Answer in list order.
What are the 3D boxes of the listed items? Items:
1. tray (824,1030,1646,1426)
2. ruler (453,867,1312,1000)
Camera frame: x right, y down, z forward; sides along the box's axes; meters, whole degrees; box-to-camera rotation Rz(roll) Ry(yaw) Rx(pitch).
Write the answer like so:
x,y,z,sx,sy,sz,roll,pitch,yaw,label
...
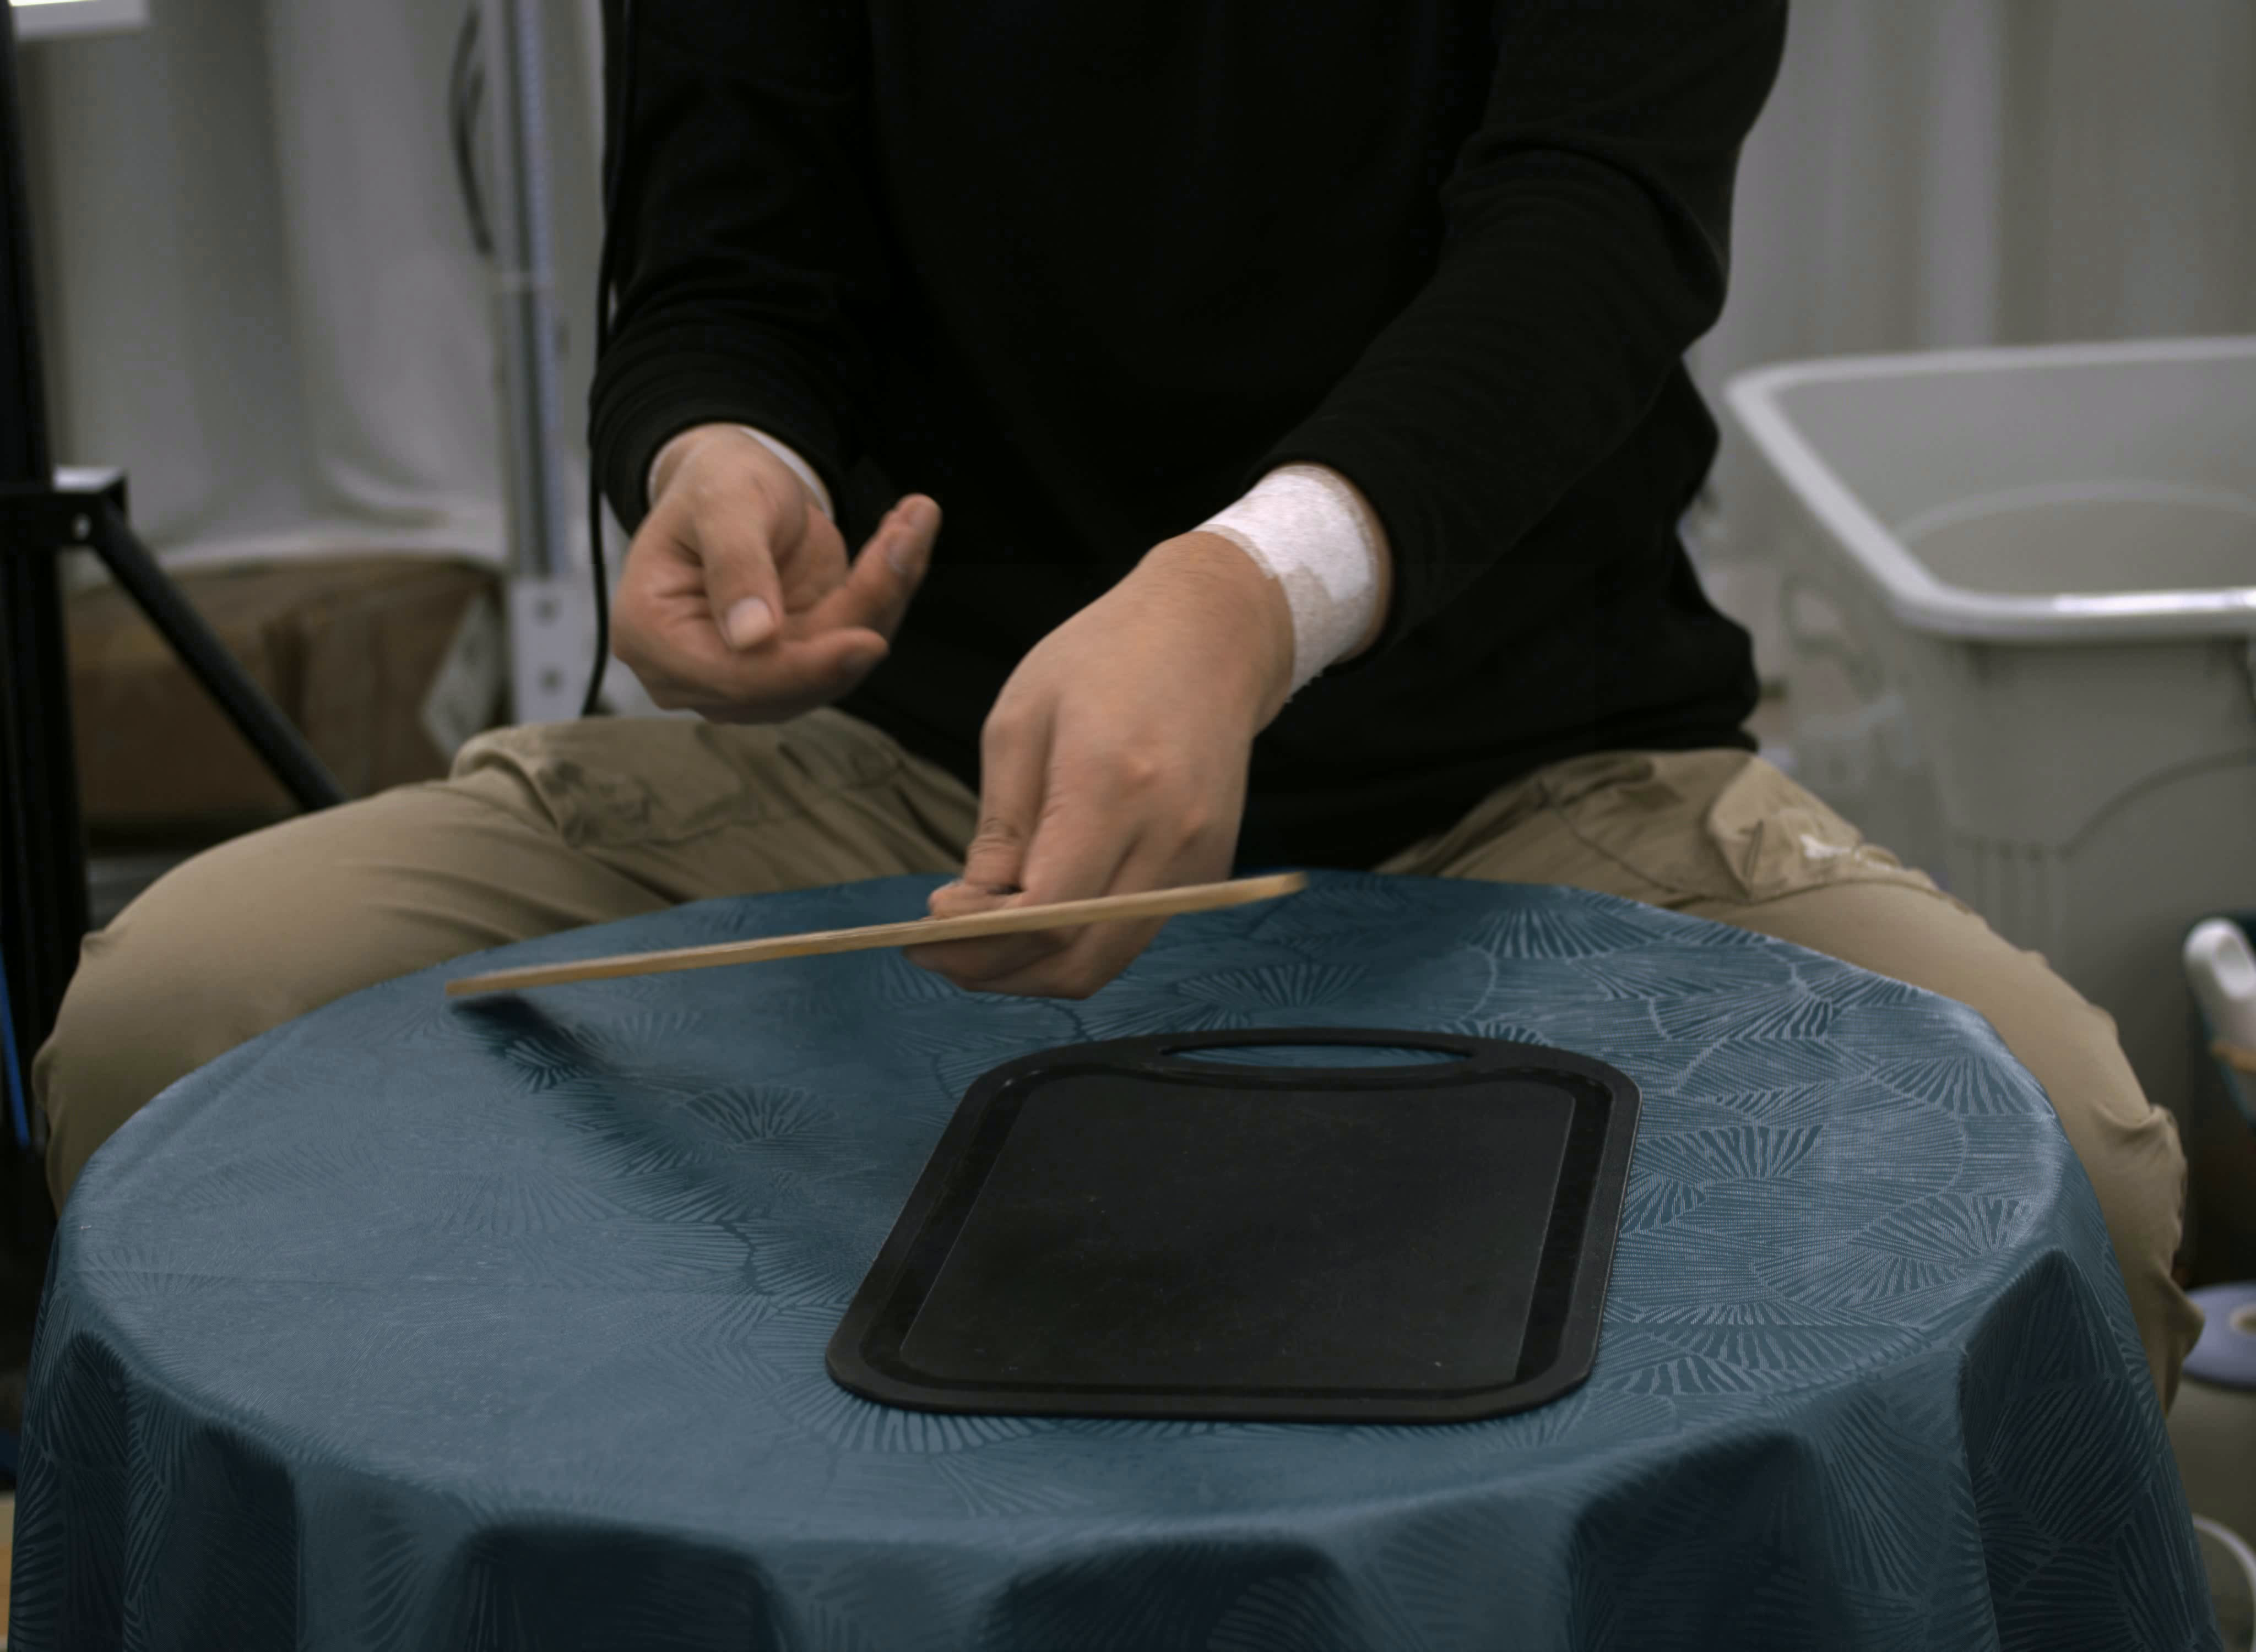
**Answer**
x,y,z,sx,sy,sz,roll,pitch,yaw,label
0.039,0.109,1.535,0.212,0.010,0.324,0,16,10,tray
-0.087,0.034,1.553,0.026,0.006,0.509,-9,0,-30,ruler
